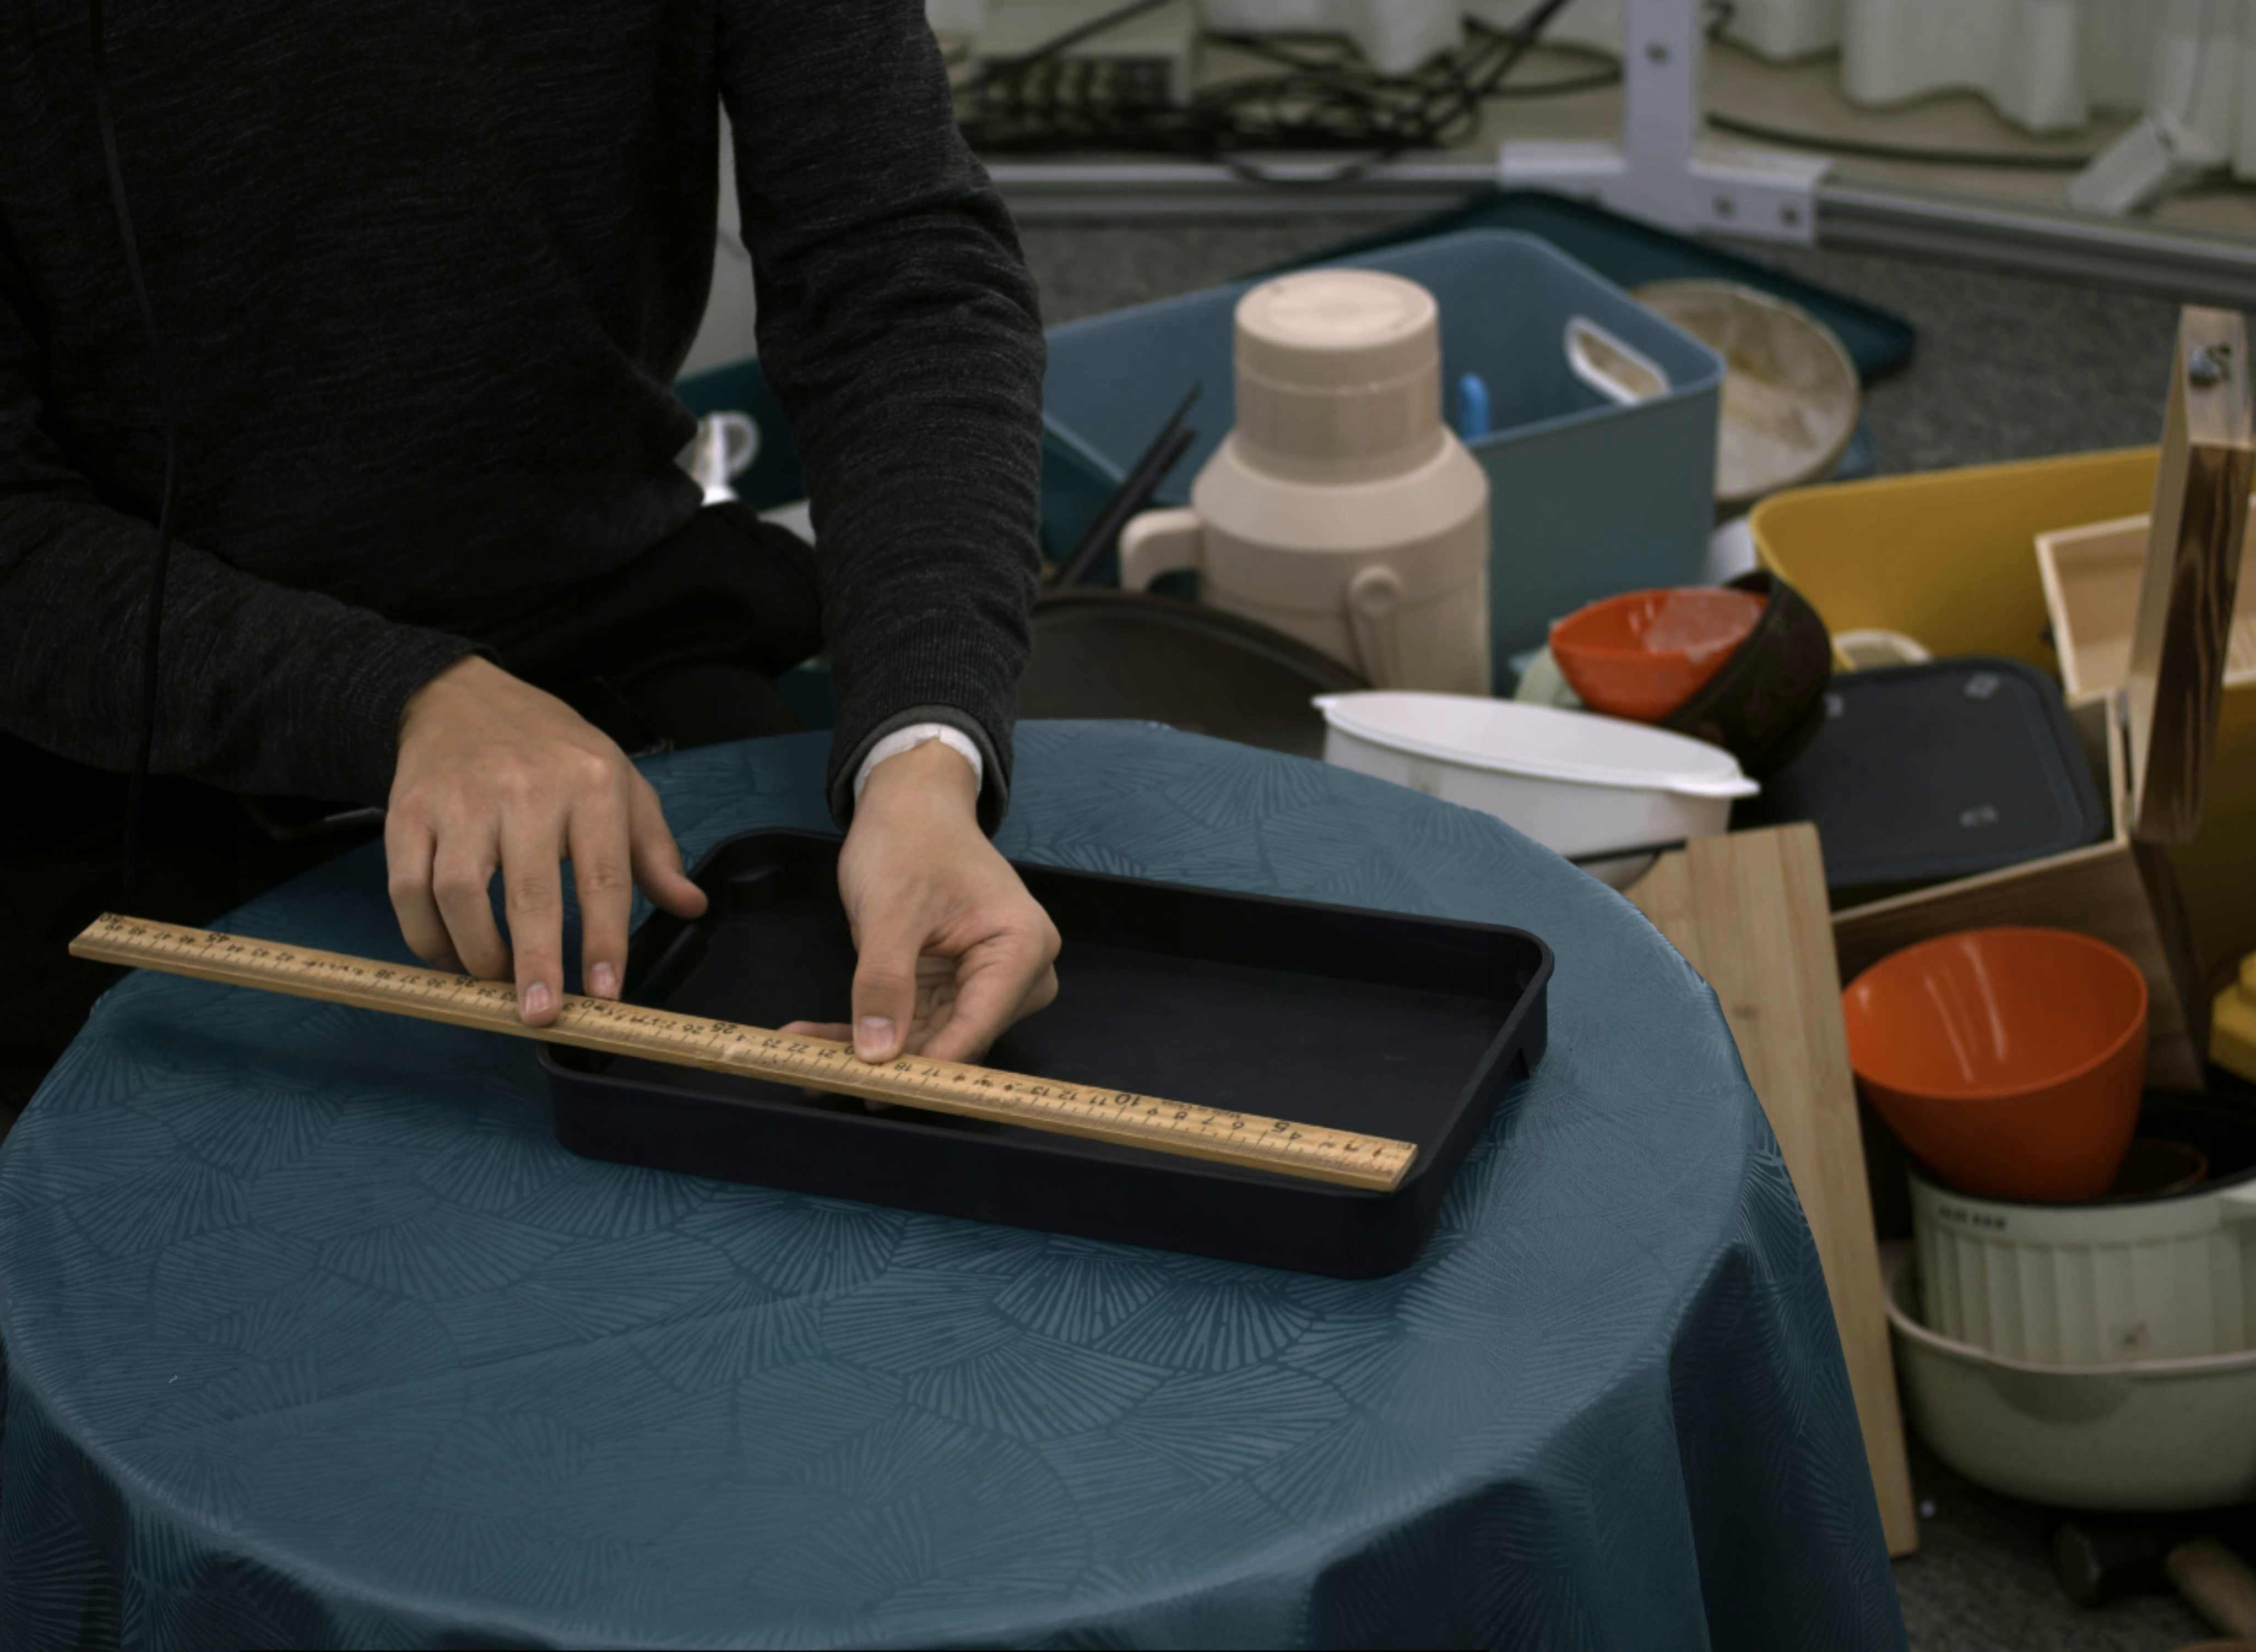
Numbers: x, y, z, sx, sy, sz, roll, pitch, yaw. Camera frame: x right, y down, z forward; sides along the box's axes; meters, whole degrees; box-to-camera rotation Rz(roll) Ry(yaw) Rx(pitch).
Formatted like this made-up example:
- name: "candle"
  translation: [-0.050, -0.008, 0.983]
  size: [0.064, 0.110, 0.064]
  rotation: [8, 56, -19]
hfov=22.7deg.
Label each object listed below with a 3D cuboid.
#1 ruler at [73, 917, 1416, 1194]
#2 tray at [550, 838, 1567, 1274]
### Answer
- name: "ruler"
  translation: [-0.138, 0.074, 1.887]
  size: [0.497, 0.006, 0.027]
  rotation: [9, 28, 22]
- name: "tray"
  translation: [-0.022, 0.075, 1.916]
  size: [0.316, 0.036, 0.187]
  rotation: [6, 28, 18]
